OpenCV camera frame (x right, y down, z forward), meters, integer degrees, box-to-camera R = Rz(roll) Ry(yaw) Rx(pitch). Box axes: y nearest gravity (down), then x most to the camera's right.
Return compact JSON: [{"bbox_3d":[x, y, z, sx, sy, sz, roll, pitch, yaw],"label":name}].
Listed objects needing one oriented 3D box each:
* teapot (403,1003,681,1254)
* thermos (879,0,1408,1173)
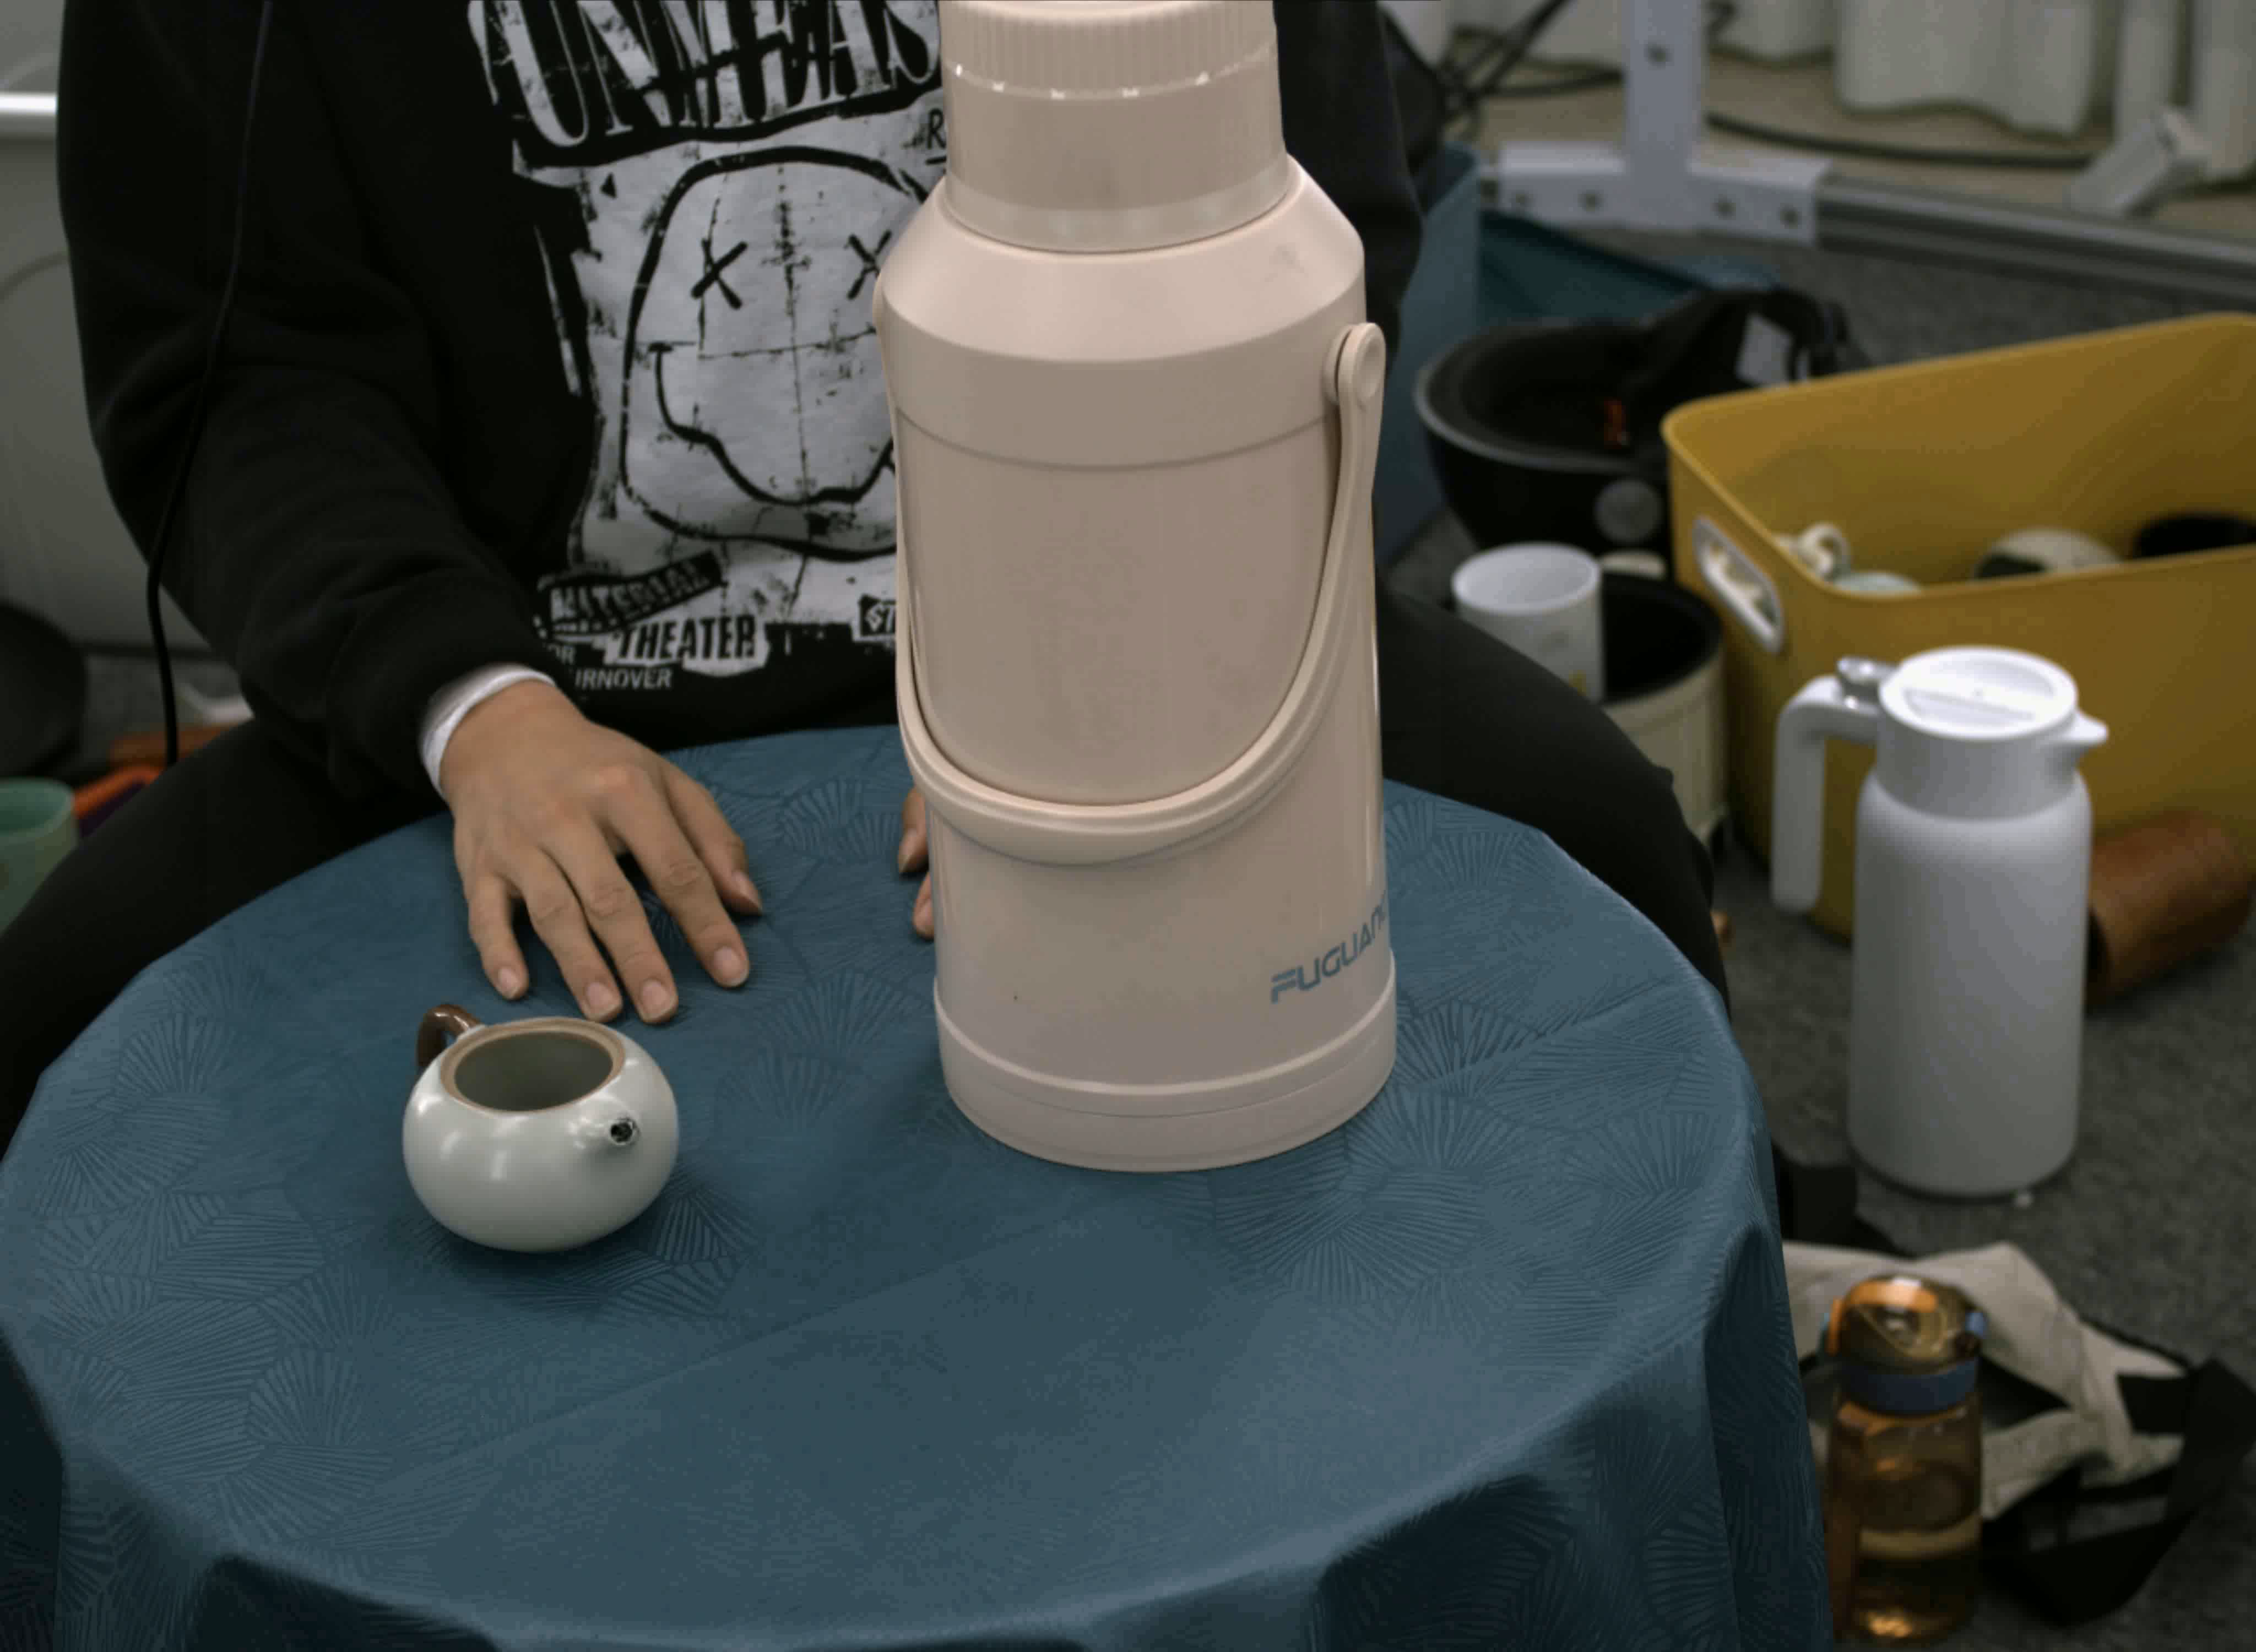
[{"bbox_3d":[-0.199,0.099,1.858,0.093,0.059,0.128,-26,36,-33],"label":"teapot"},{"bbox_3d":[0.013,-0.102,1.865,0.174,0.402,0.210,8,29,25],"label":"thermos"}]
